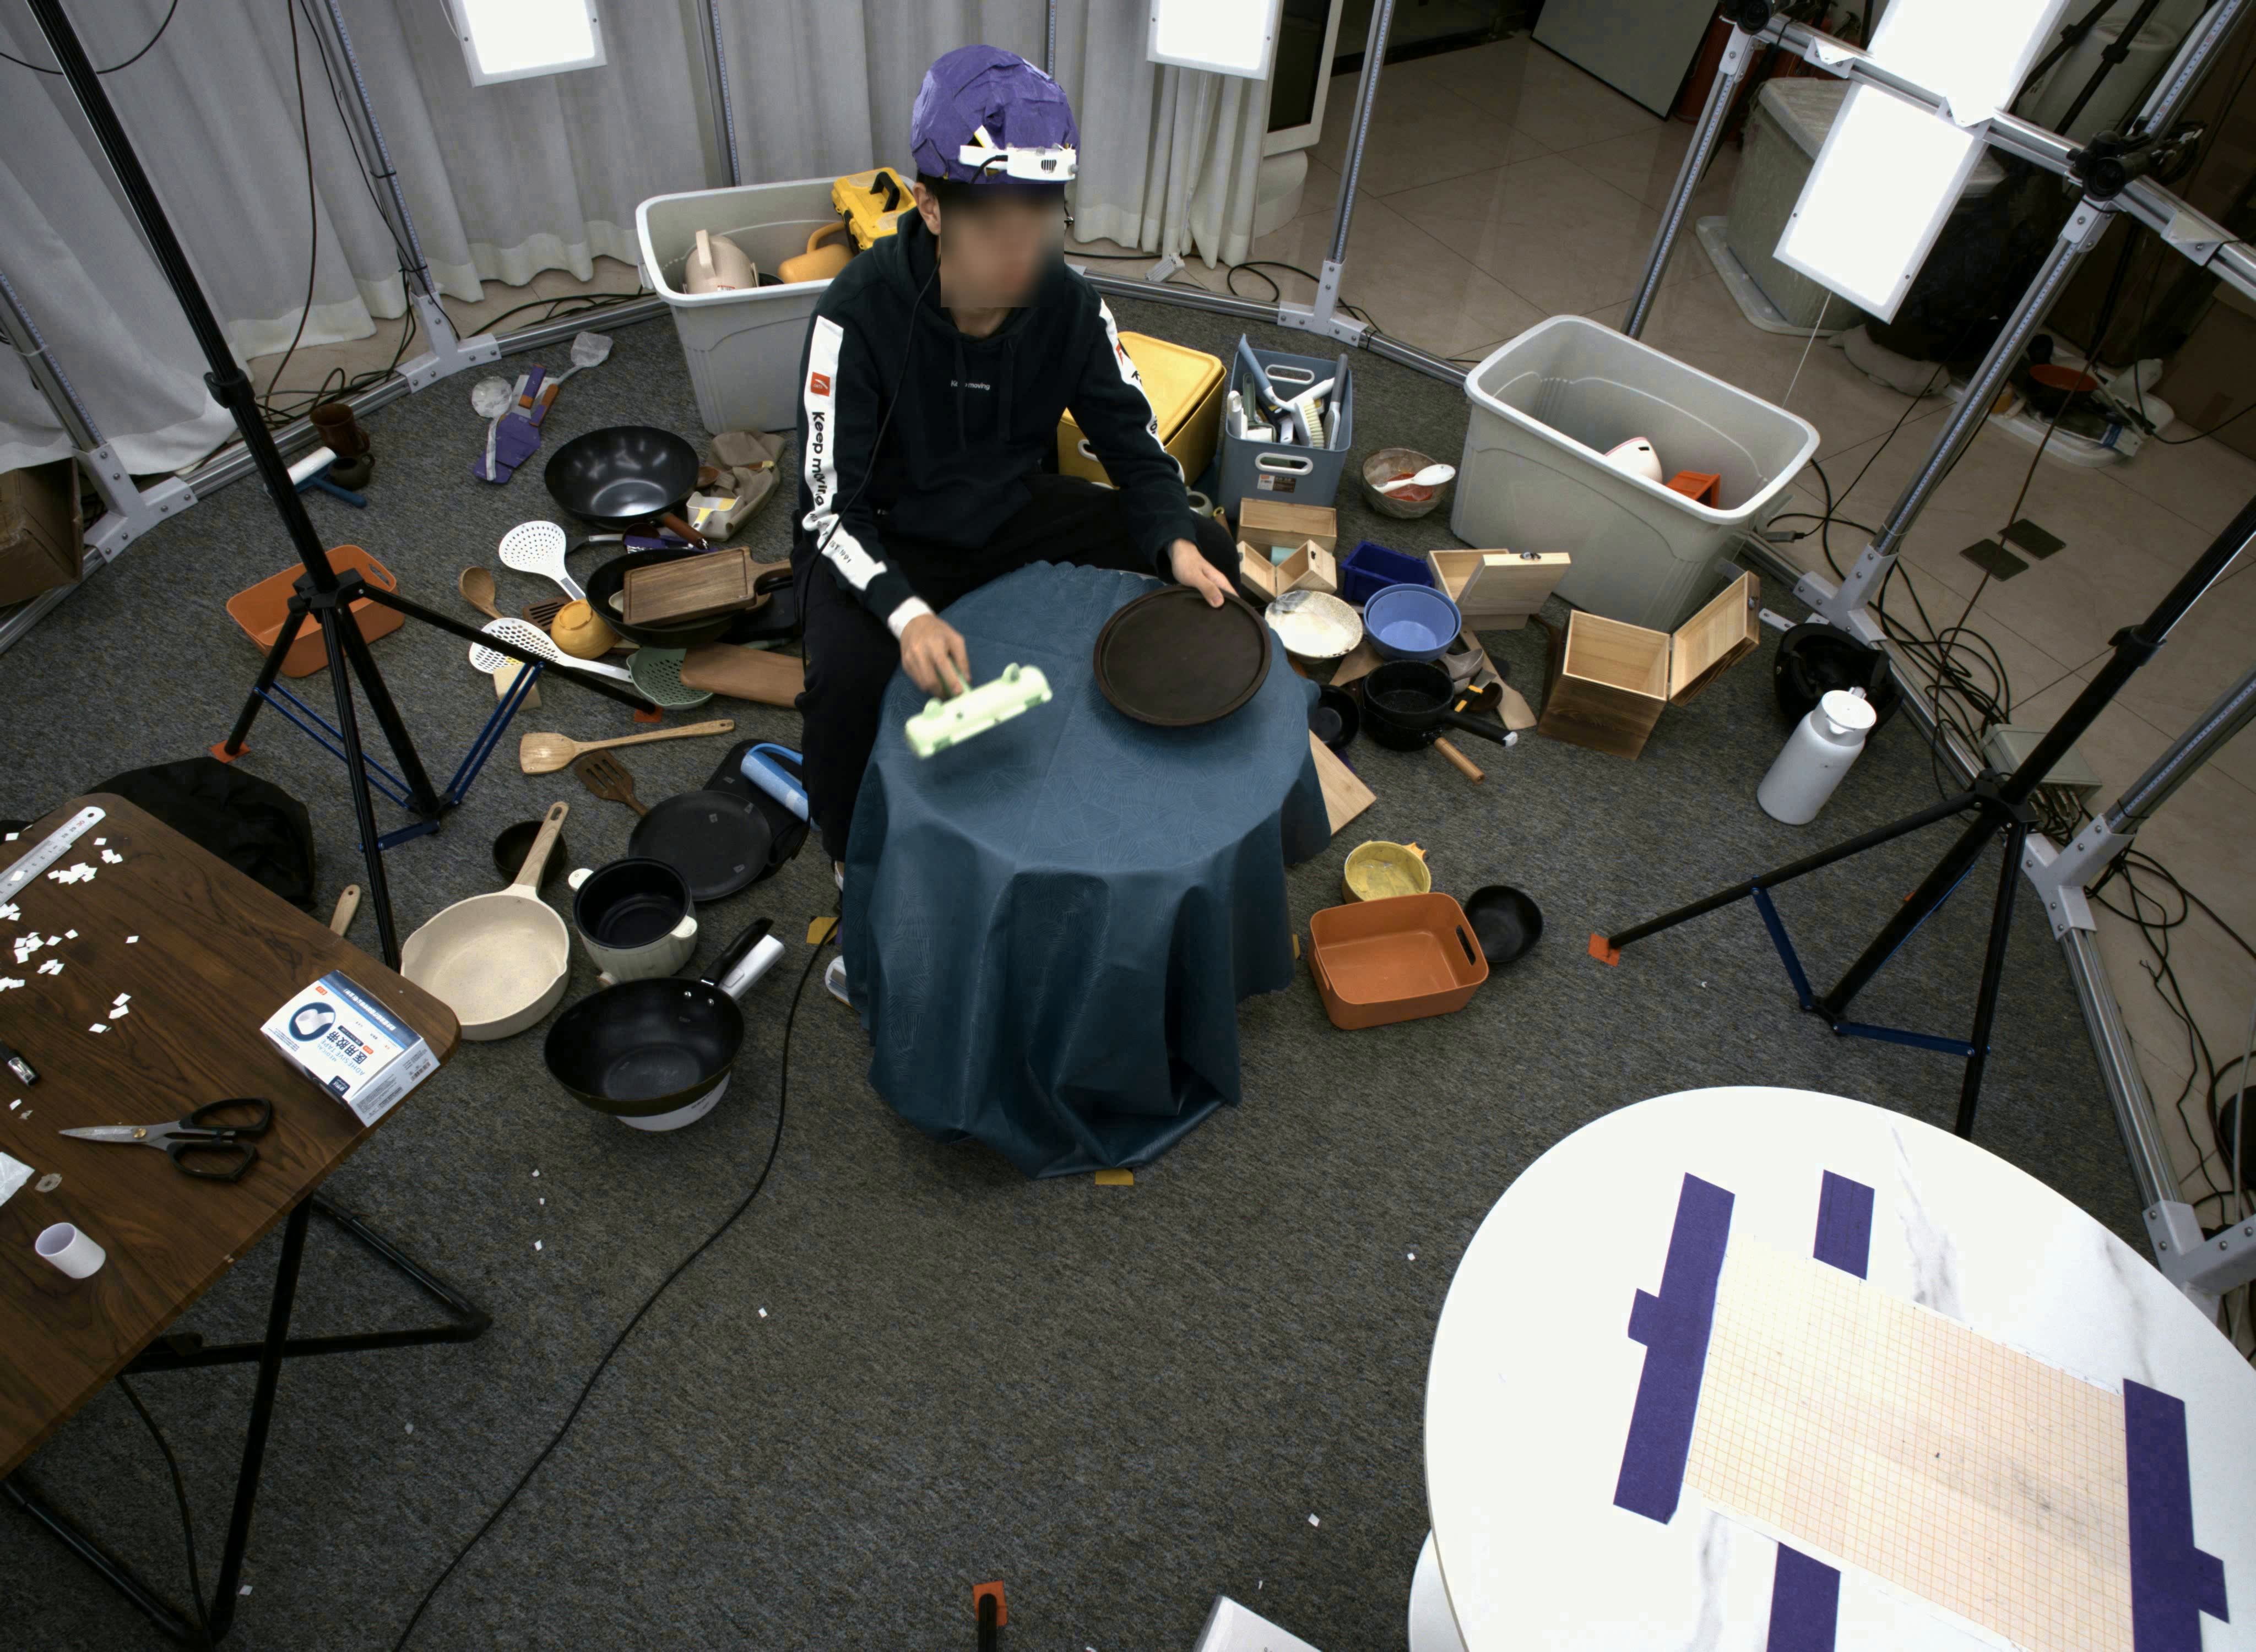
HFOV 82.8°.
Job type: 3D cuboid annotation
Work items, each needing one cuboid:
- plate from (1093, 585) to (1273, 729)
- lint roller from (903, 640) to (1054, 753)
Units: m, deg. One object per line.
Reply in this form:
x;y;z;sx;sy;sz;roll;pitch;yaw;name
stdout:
0.077;-0.240;1.807;0.255;0.028;0.261;-5;57;7;plate
-0.224;-0.200;1.696;0.199;0.080;0.187;-26;61;-19;lint roller
